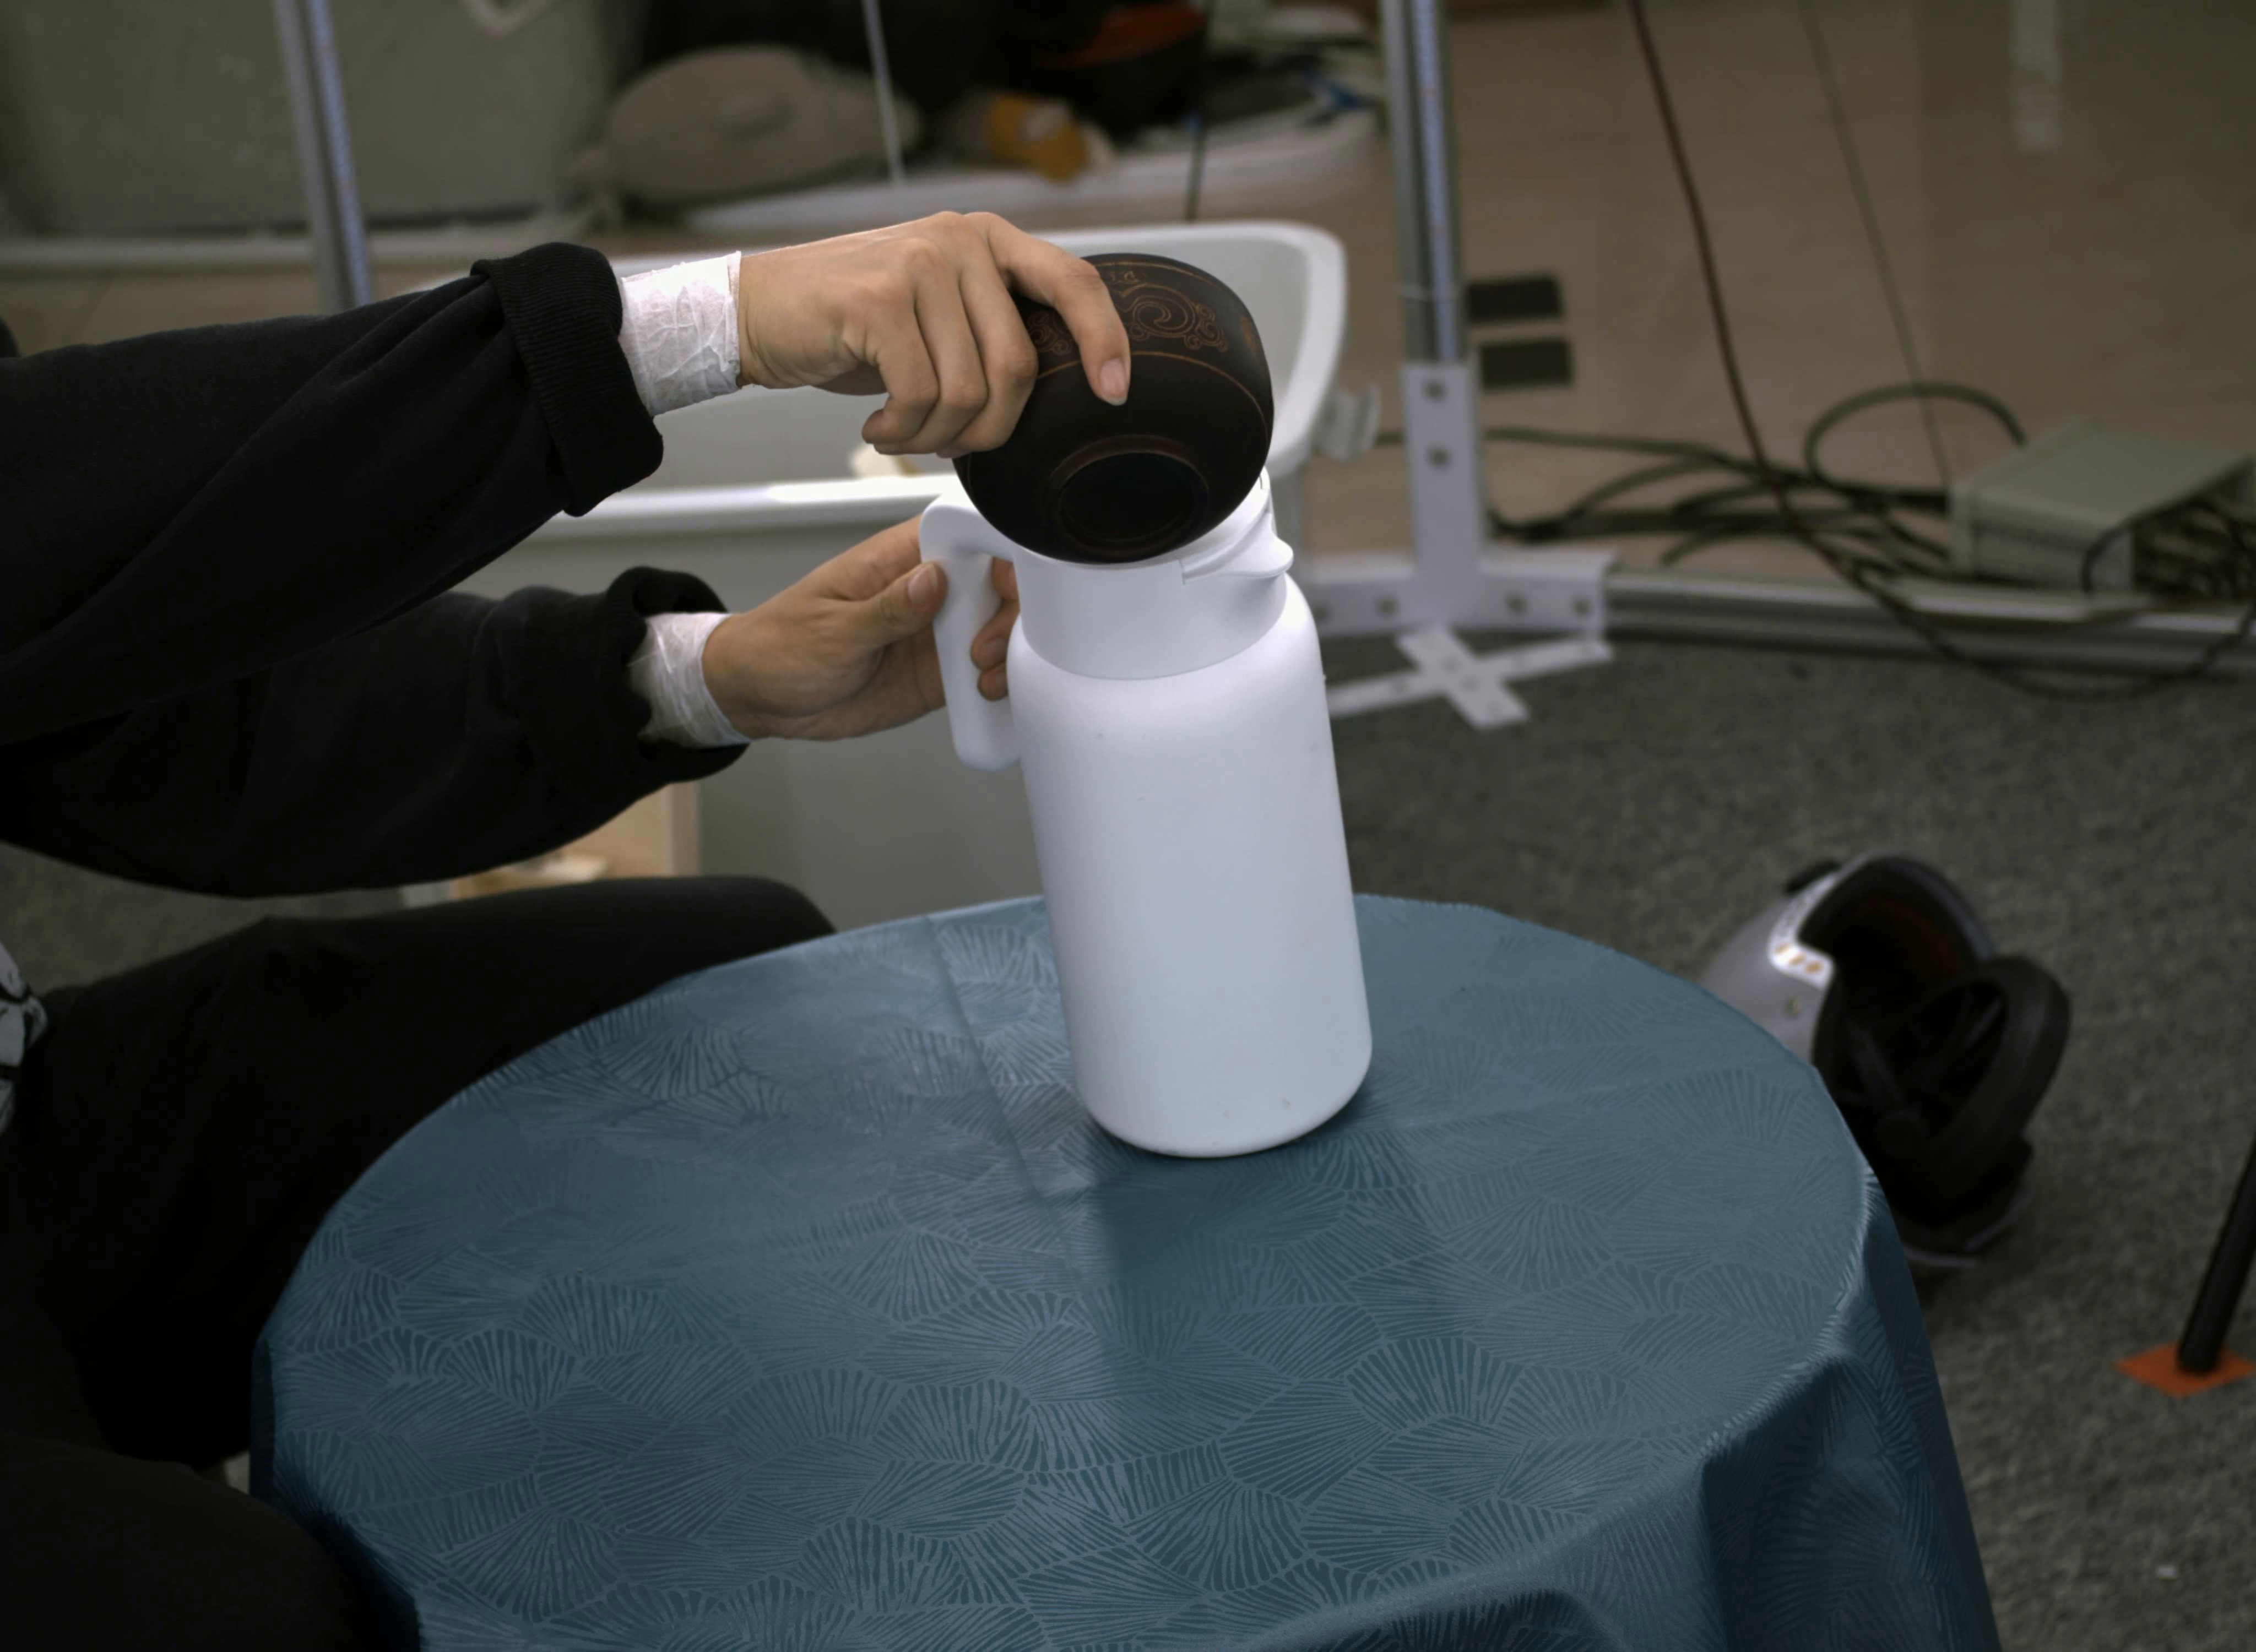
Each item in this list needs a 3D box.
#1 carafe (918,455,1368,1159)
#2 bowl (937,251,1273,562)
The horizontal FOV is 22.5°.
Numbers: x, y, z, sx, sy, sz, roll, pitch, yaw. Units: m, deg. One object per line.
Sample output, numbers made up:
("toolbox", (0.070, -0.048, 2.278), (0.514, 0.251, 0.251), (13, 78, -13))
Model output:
("carafe", (0.006, -0.015, 2.141), (0.171, 0.274, 0.122), (18, 45, 33))
("bowl", (-0.006, -0.137, 1.973), (0.118, 0.120, 0.068), (-8, 53, -3))
